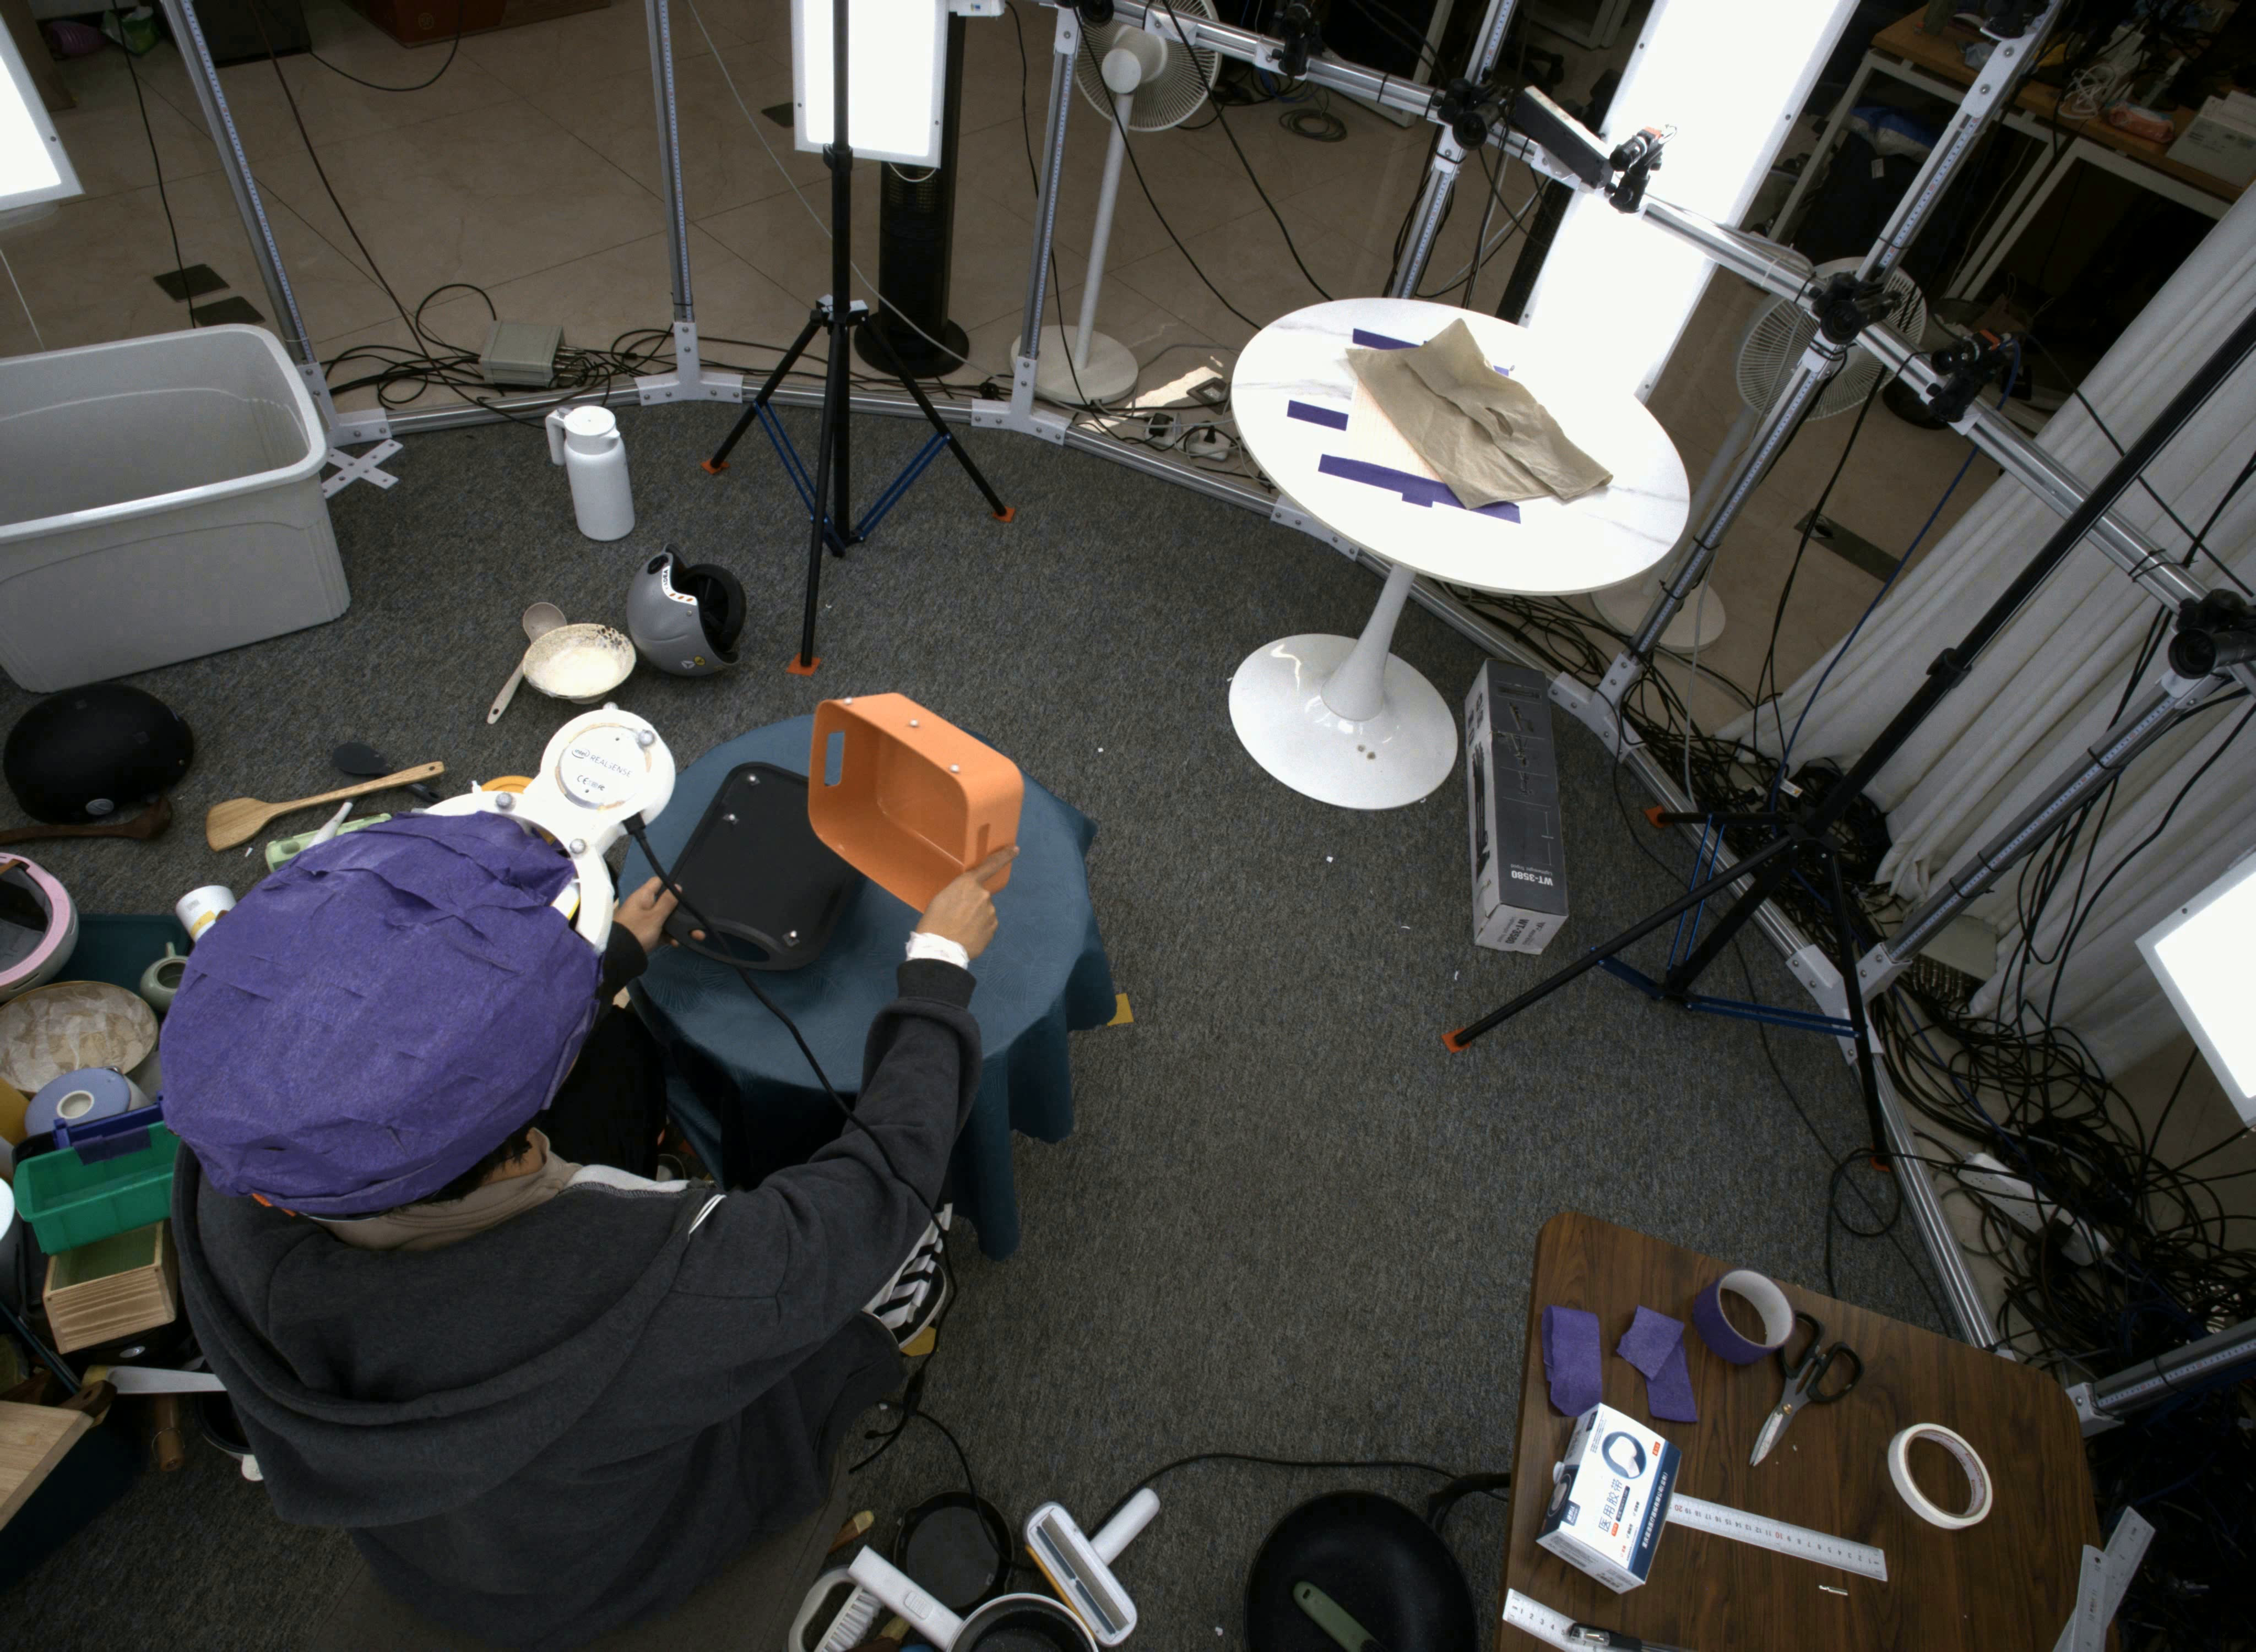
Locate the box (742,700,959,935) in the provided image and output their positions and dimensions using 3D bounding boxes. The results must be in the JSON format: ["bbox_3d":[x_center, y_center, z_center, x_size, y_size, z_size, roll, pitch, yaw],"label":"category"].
[{"bbox_3d":[-0.312,-0.018,1.476,0.264,0.205,0.103,26,34,28],"label":"box"}]

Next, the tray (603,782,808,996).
[{"bbox_3d":[-0.503,0.071,1.579,0.211,0.010,0.320,18,44,-9],"label":"tray"}]
